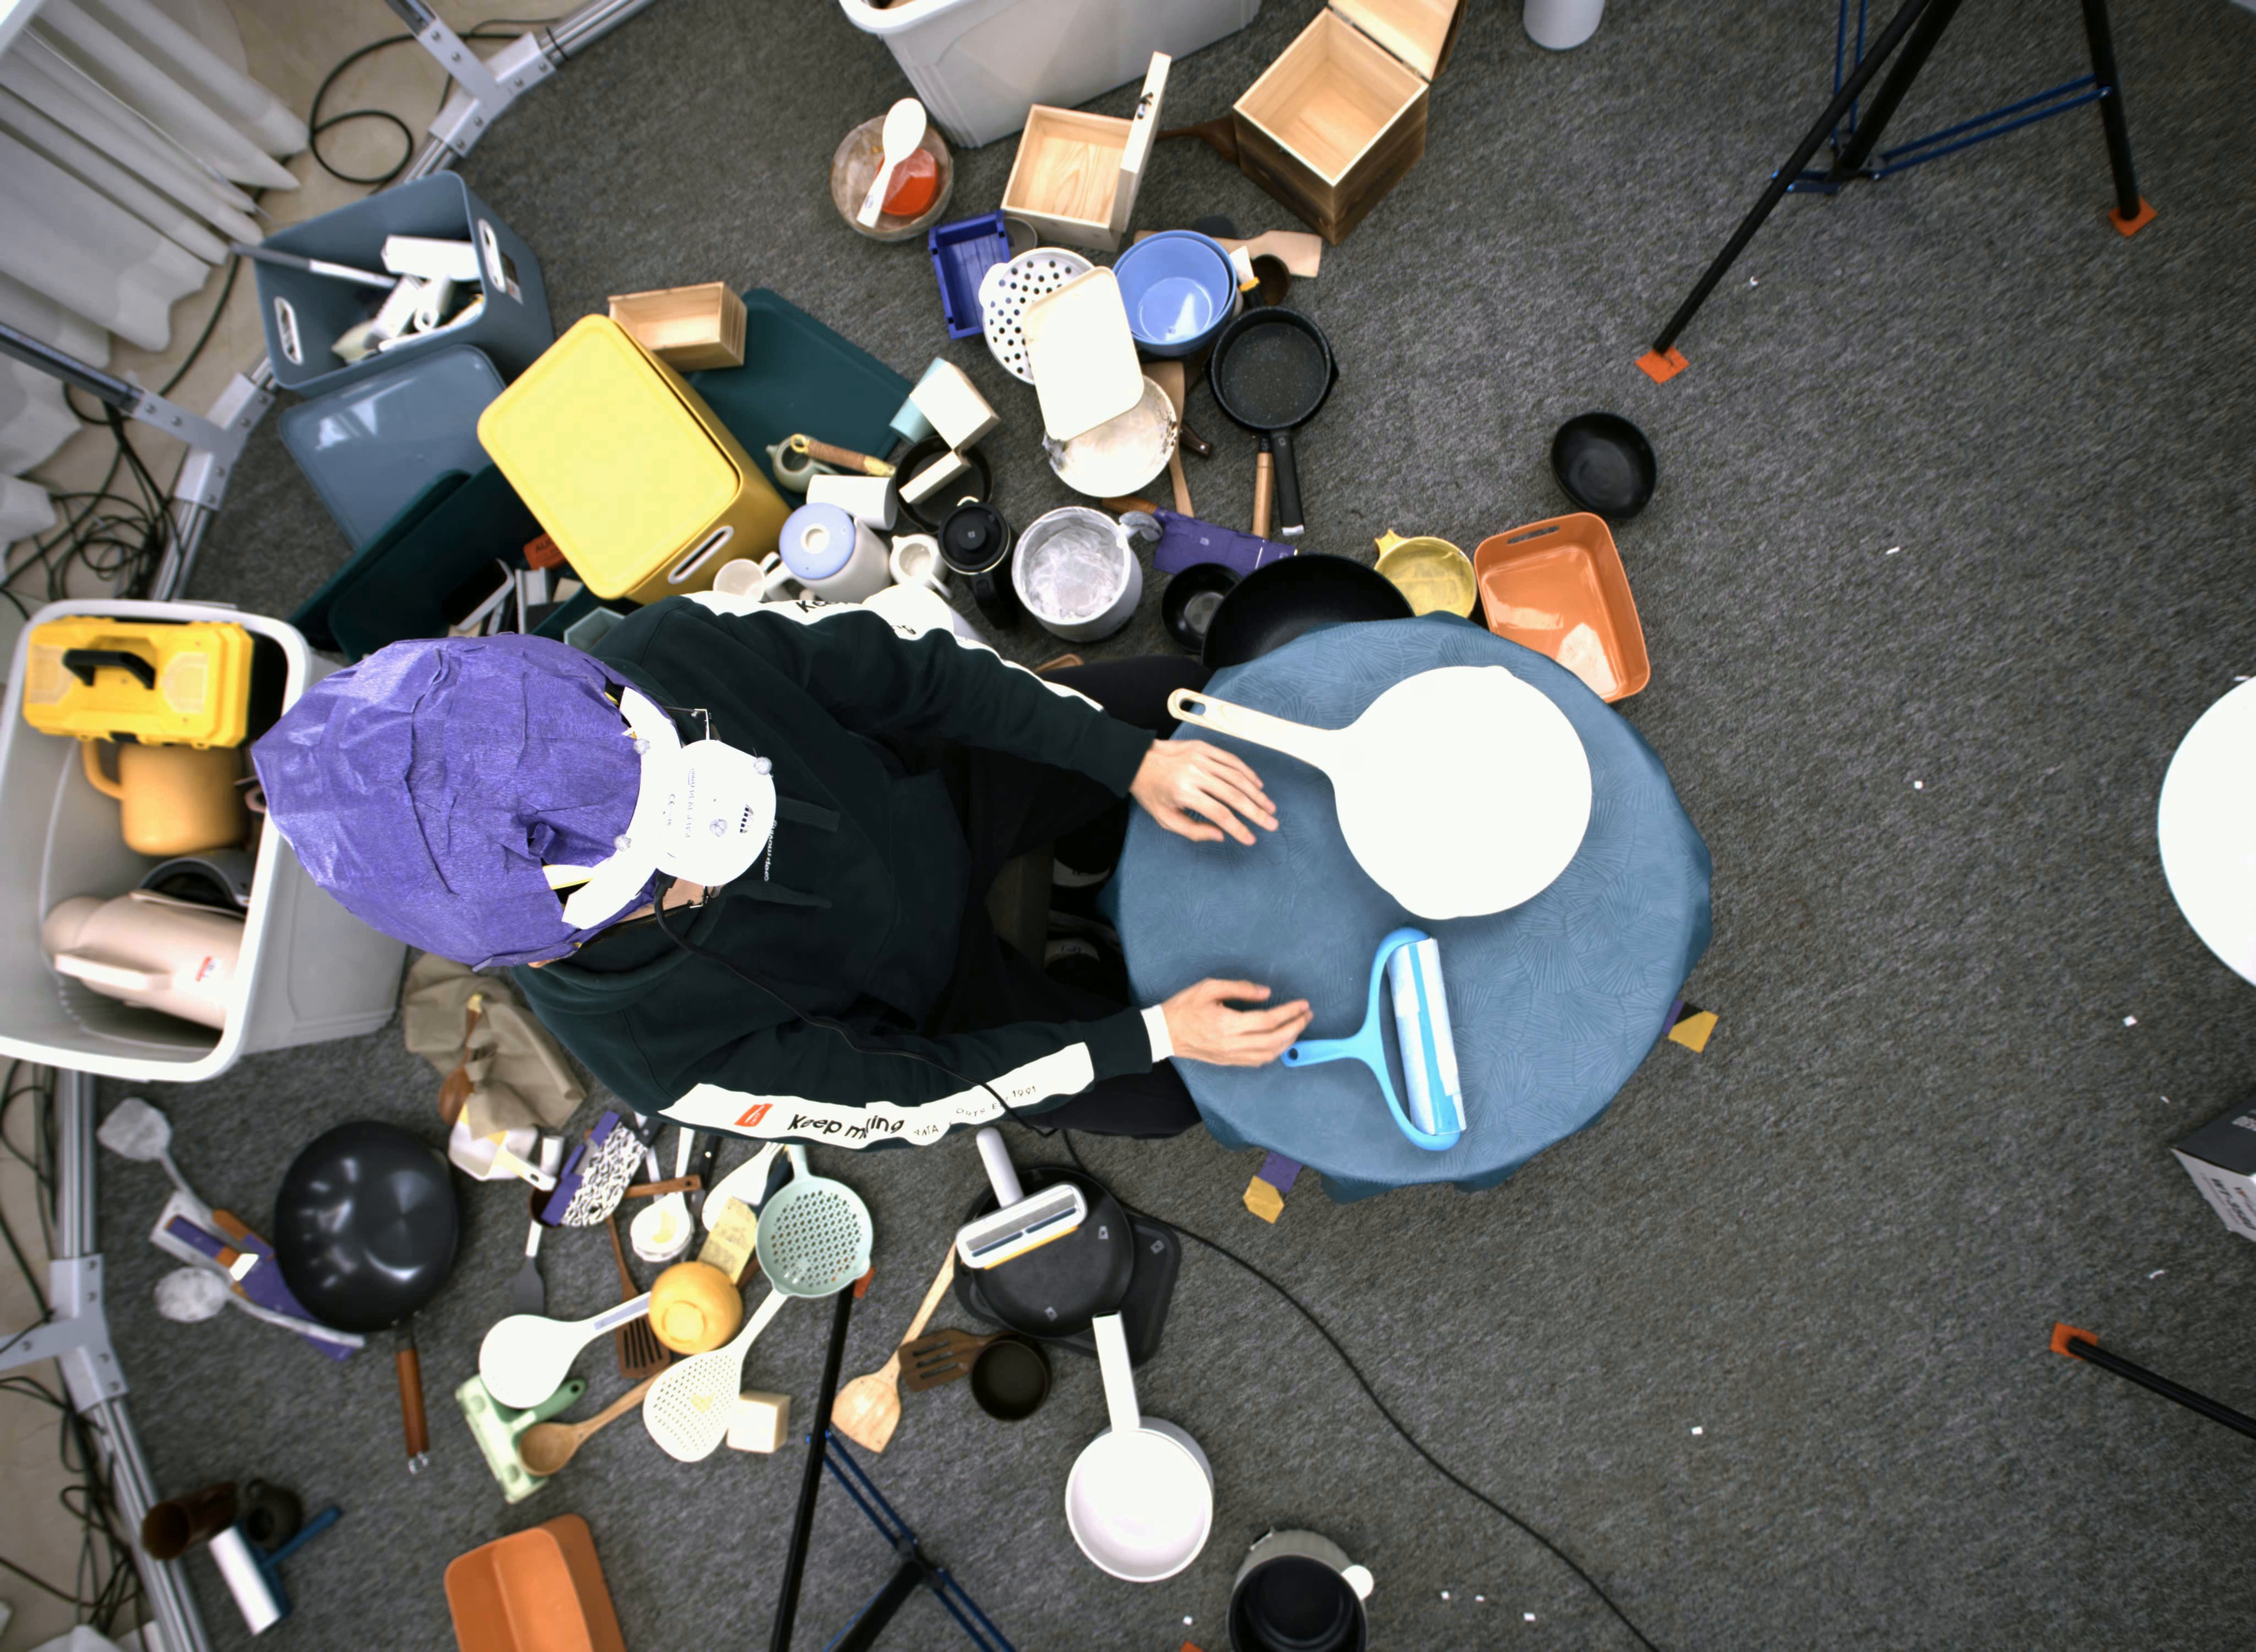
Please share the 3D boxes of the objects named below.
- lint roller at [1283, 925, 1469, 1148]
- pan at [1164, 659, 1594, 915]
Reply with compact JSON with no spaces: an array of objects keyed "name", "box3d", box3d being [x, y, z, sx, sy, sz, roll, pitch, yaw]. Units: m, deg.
[{"name":"lint roller","box3d":[0.248,0.225,1.423,0.181,0.068,0.228,-12,86,8]},{"name":"pan","box3d":[0.252,-0.064,1.414,0.435,0.102,0.263,16,91,11]}]
